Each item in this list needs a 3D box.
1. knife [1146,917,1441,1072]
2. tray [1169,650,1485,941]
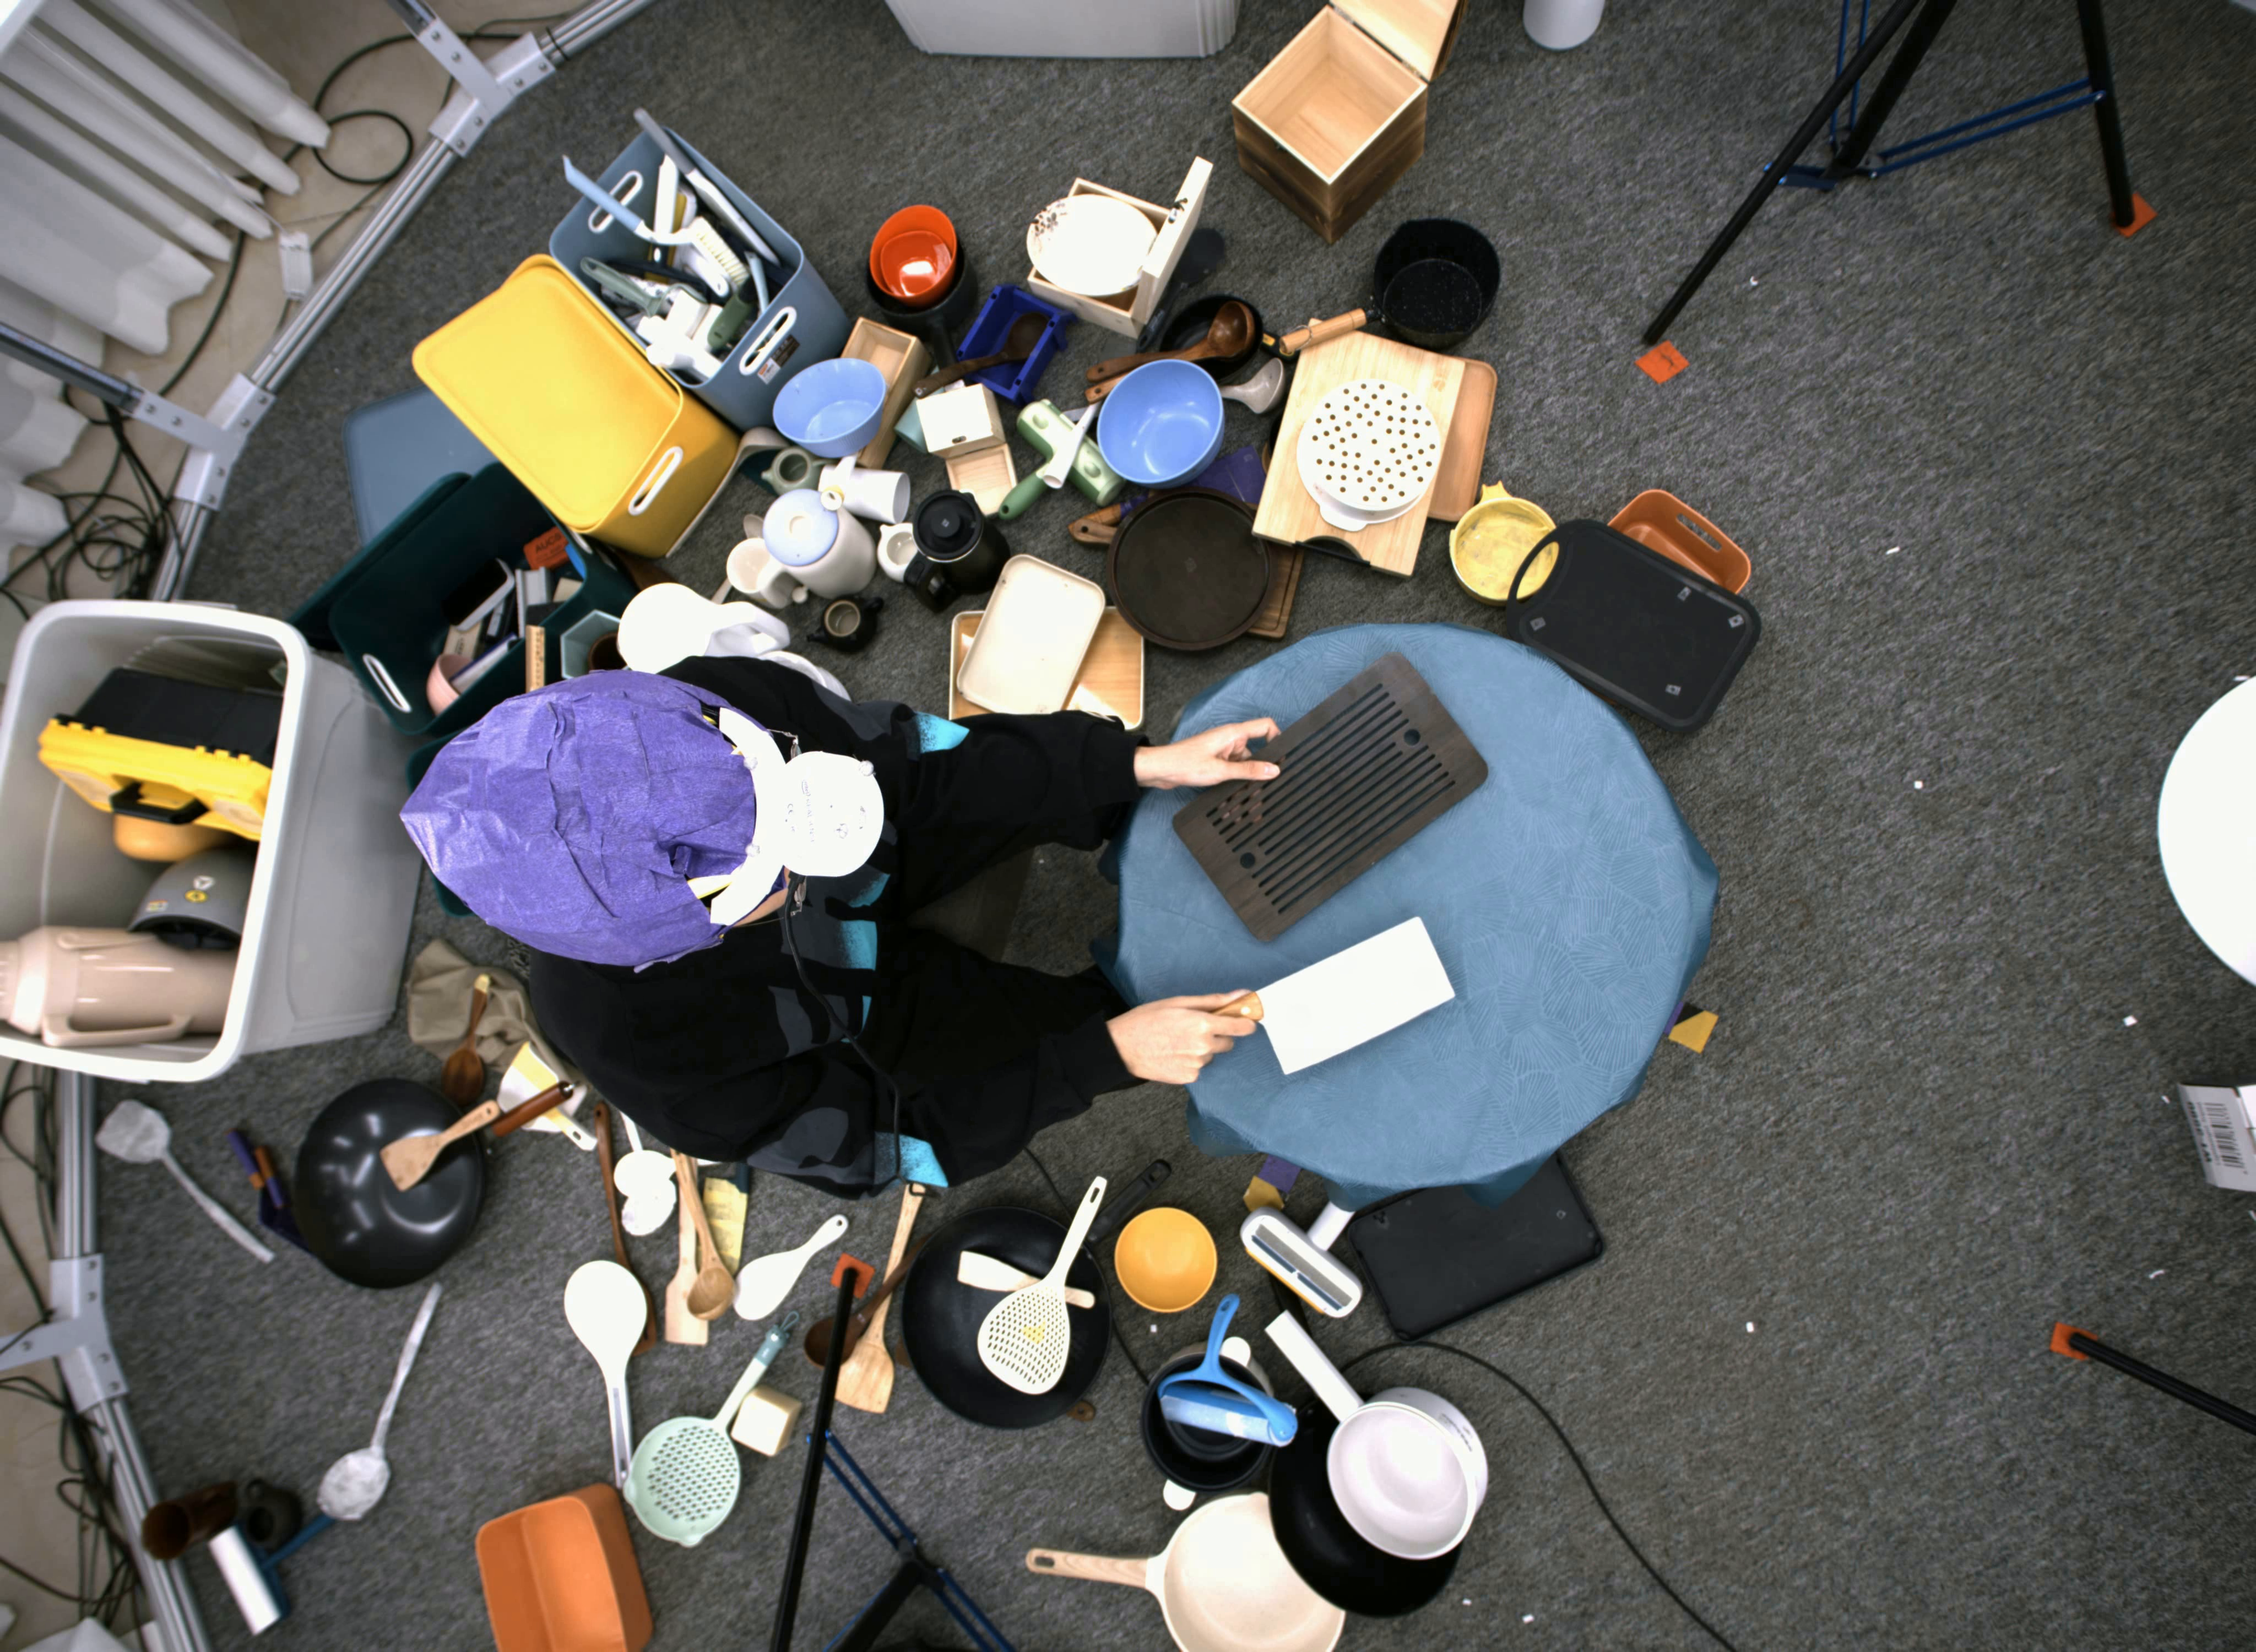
[{"bbox_3d":[0.171,0.192,1.399,0.306,0.021,0.093,-25,93,1],"label":"knife"},{"bbox_3d":[0.209,-0.033,1.456,0.307,0.018,0.170,-37,89,6],"label":"tray"}]
